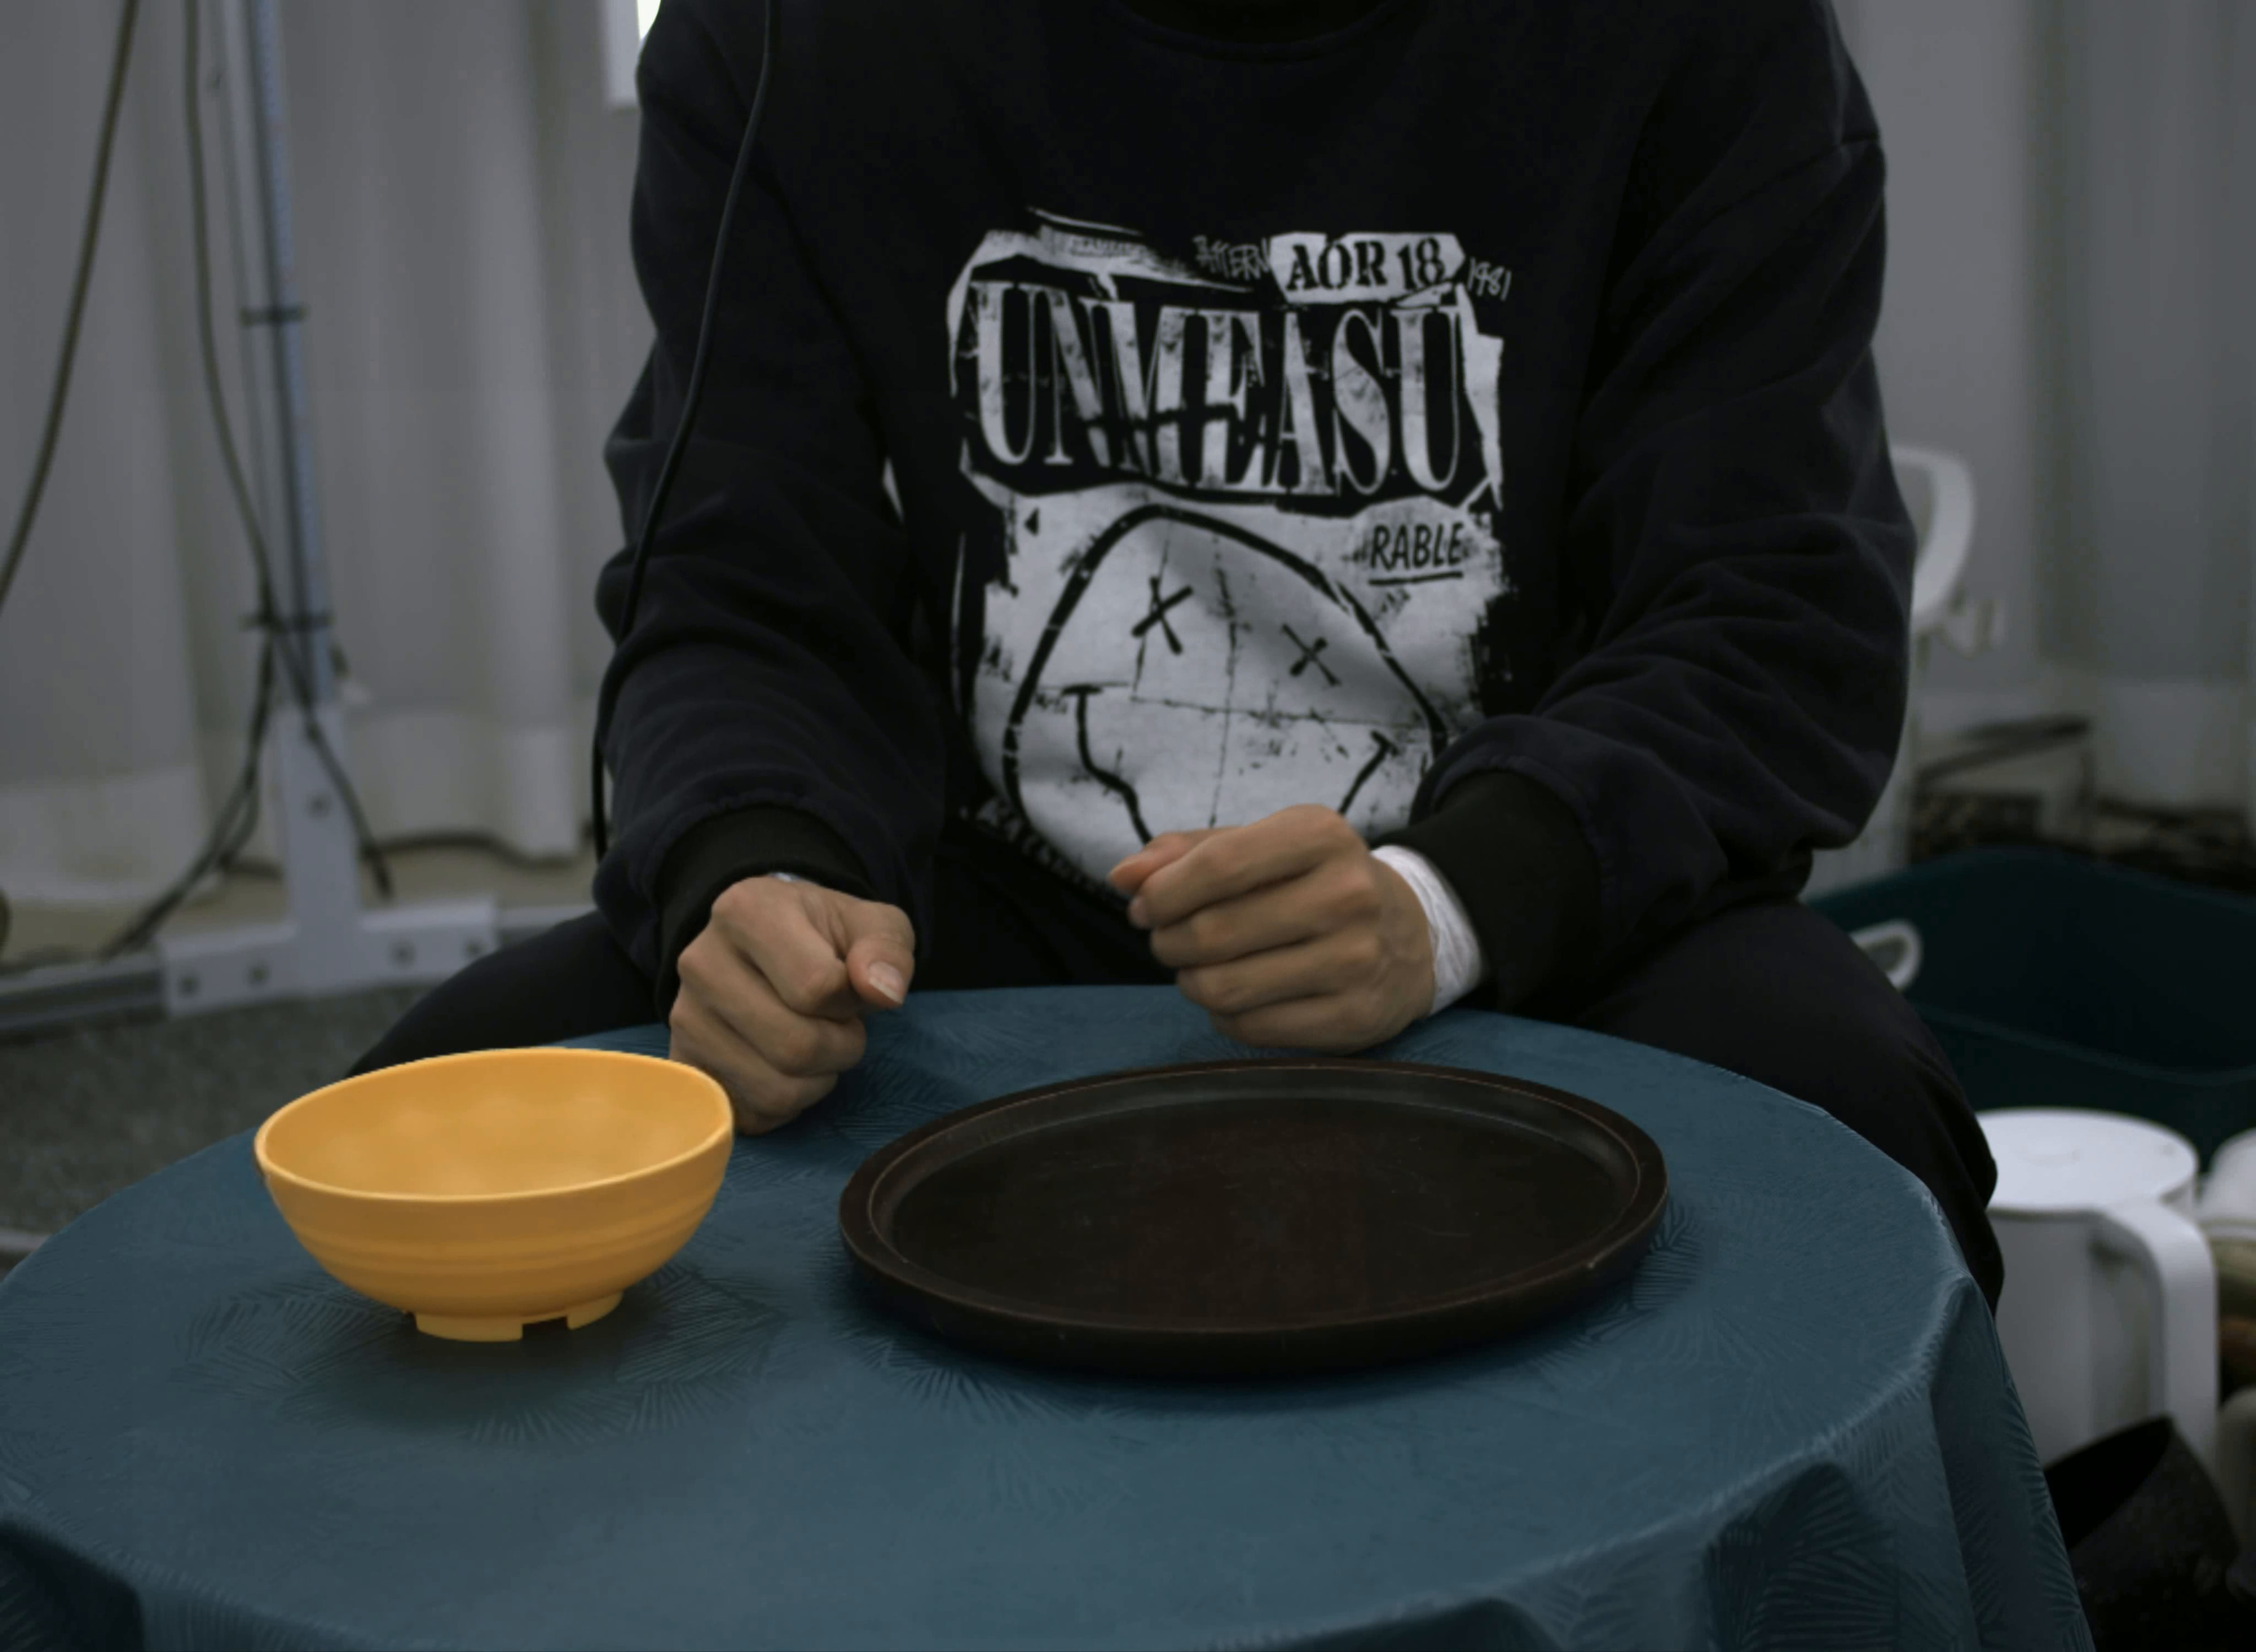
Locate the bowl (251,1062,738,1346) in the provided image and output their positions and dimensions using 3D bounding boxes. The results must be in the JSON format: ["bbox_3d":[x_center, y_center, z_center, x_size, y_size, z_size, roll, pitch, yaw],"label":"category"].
[{"bbox_3d":[-0.188,0.117,1.634,0.145,0.060,0.146,-1,12,0],"label":"bowl"}]

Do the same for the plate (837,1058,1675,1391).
[{"bbox_3d":[0.039,0.118,1.651,0.254,0.029,0.256,-4,14,1],"label":"plate"}]
